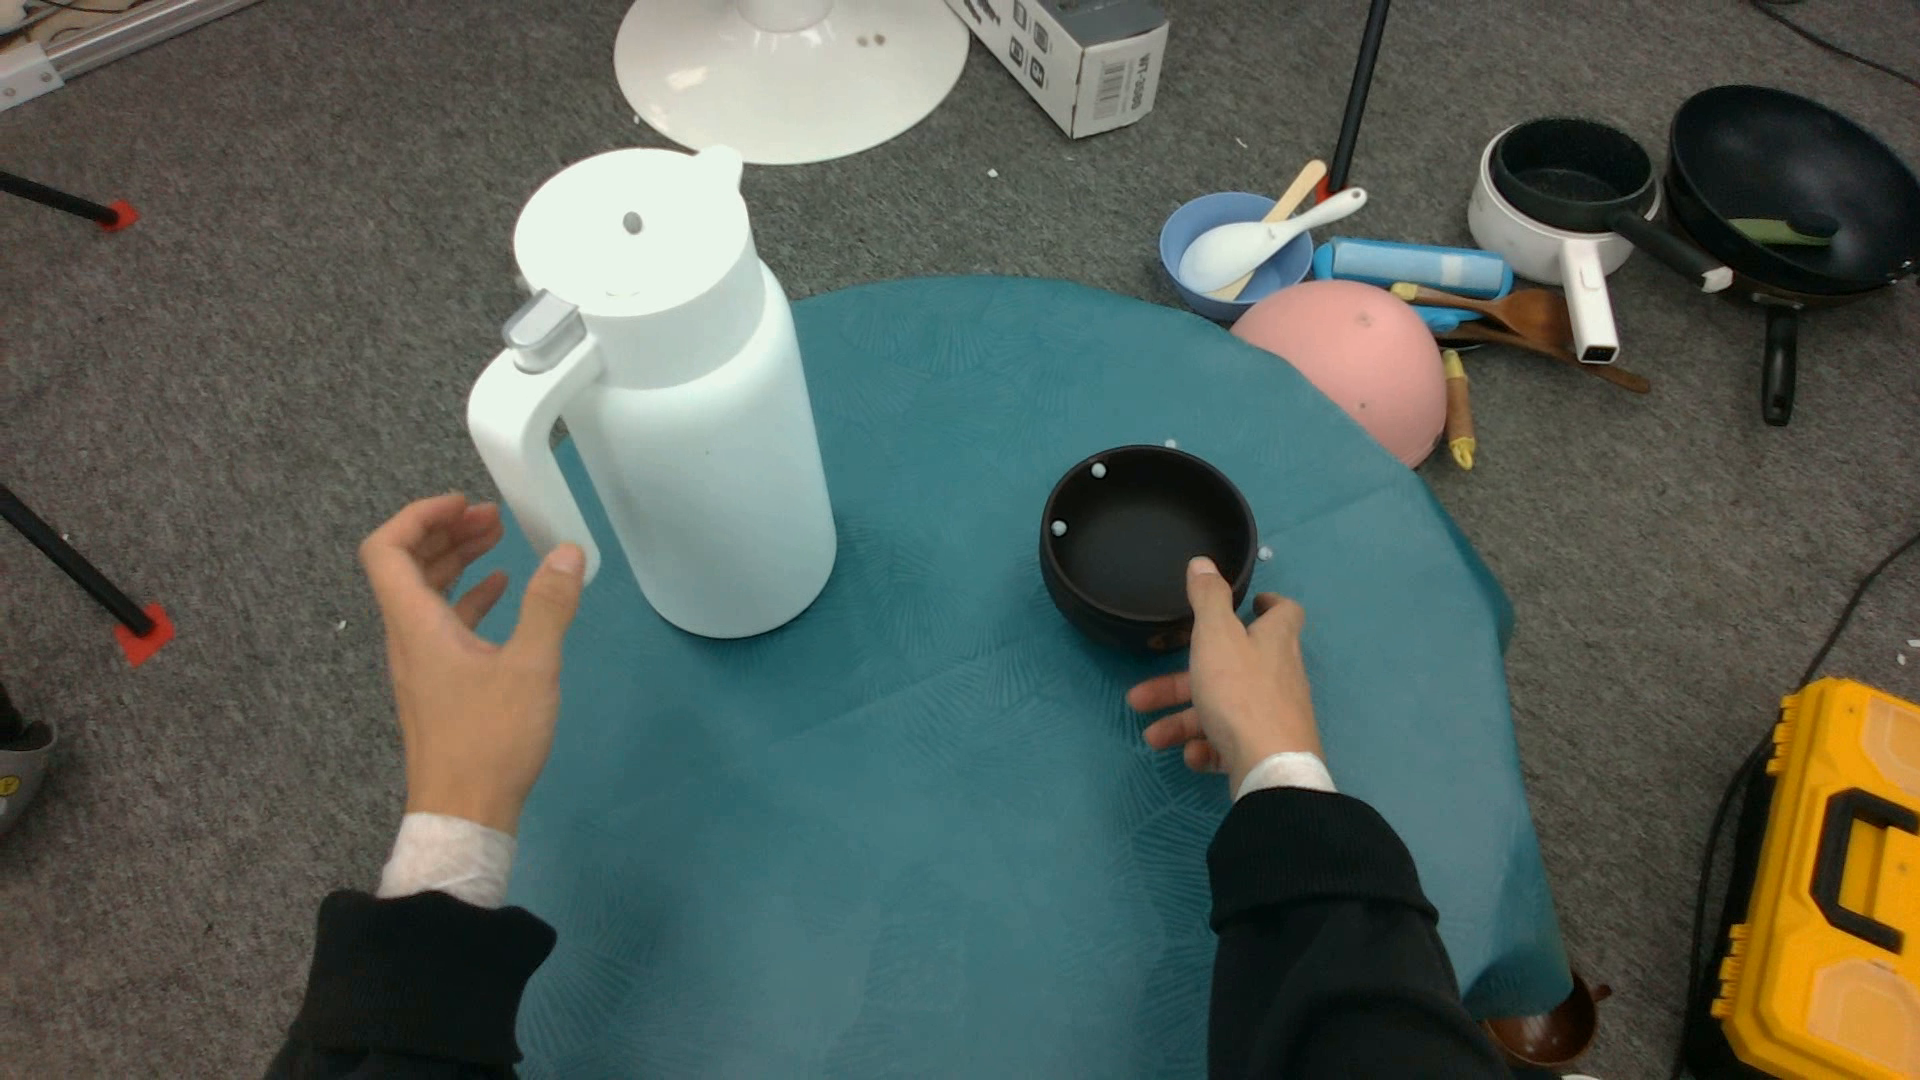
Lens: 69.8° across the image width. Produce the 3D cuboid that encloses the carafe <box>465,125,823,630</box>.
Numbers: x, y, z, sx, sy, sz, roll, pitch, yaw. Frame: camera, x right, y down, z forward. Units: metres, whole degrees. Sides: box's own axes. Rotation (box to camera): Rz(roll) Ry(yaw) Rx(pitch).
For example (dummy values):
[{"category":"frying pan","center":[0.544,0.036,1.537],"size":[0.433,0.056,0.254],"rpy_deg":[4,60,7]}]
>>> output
[{"category":"carafe","center":[-0.147,-0.053,0.687],"size":[0.124,0.267,0.173],"rpy_deg":[26,62,15]}]

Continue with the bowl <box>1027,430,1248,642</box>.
[{"category":"bowl","center":[0.095,0.005,0.760],"size":[0.118,0.069,0.118],"rpy_deg":[0,58,1]}]
